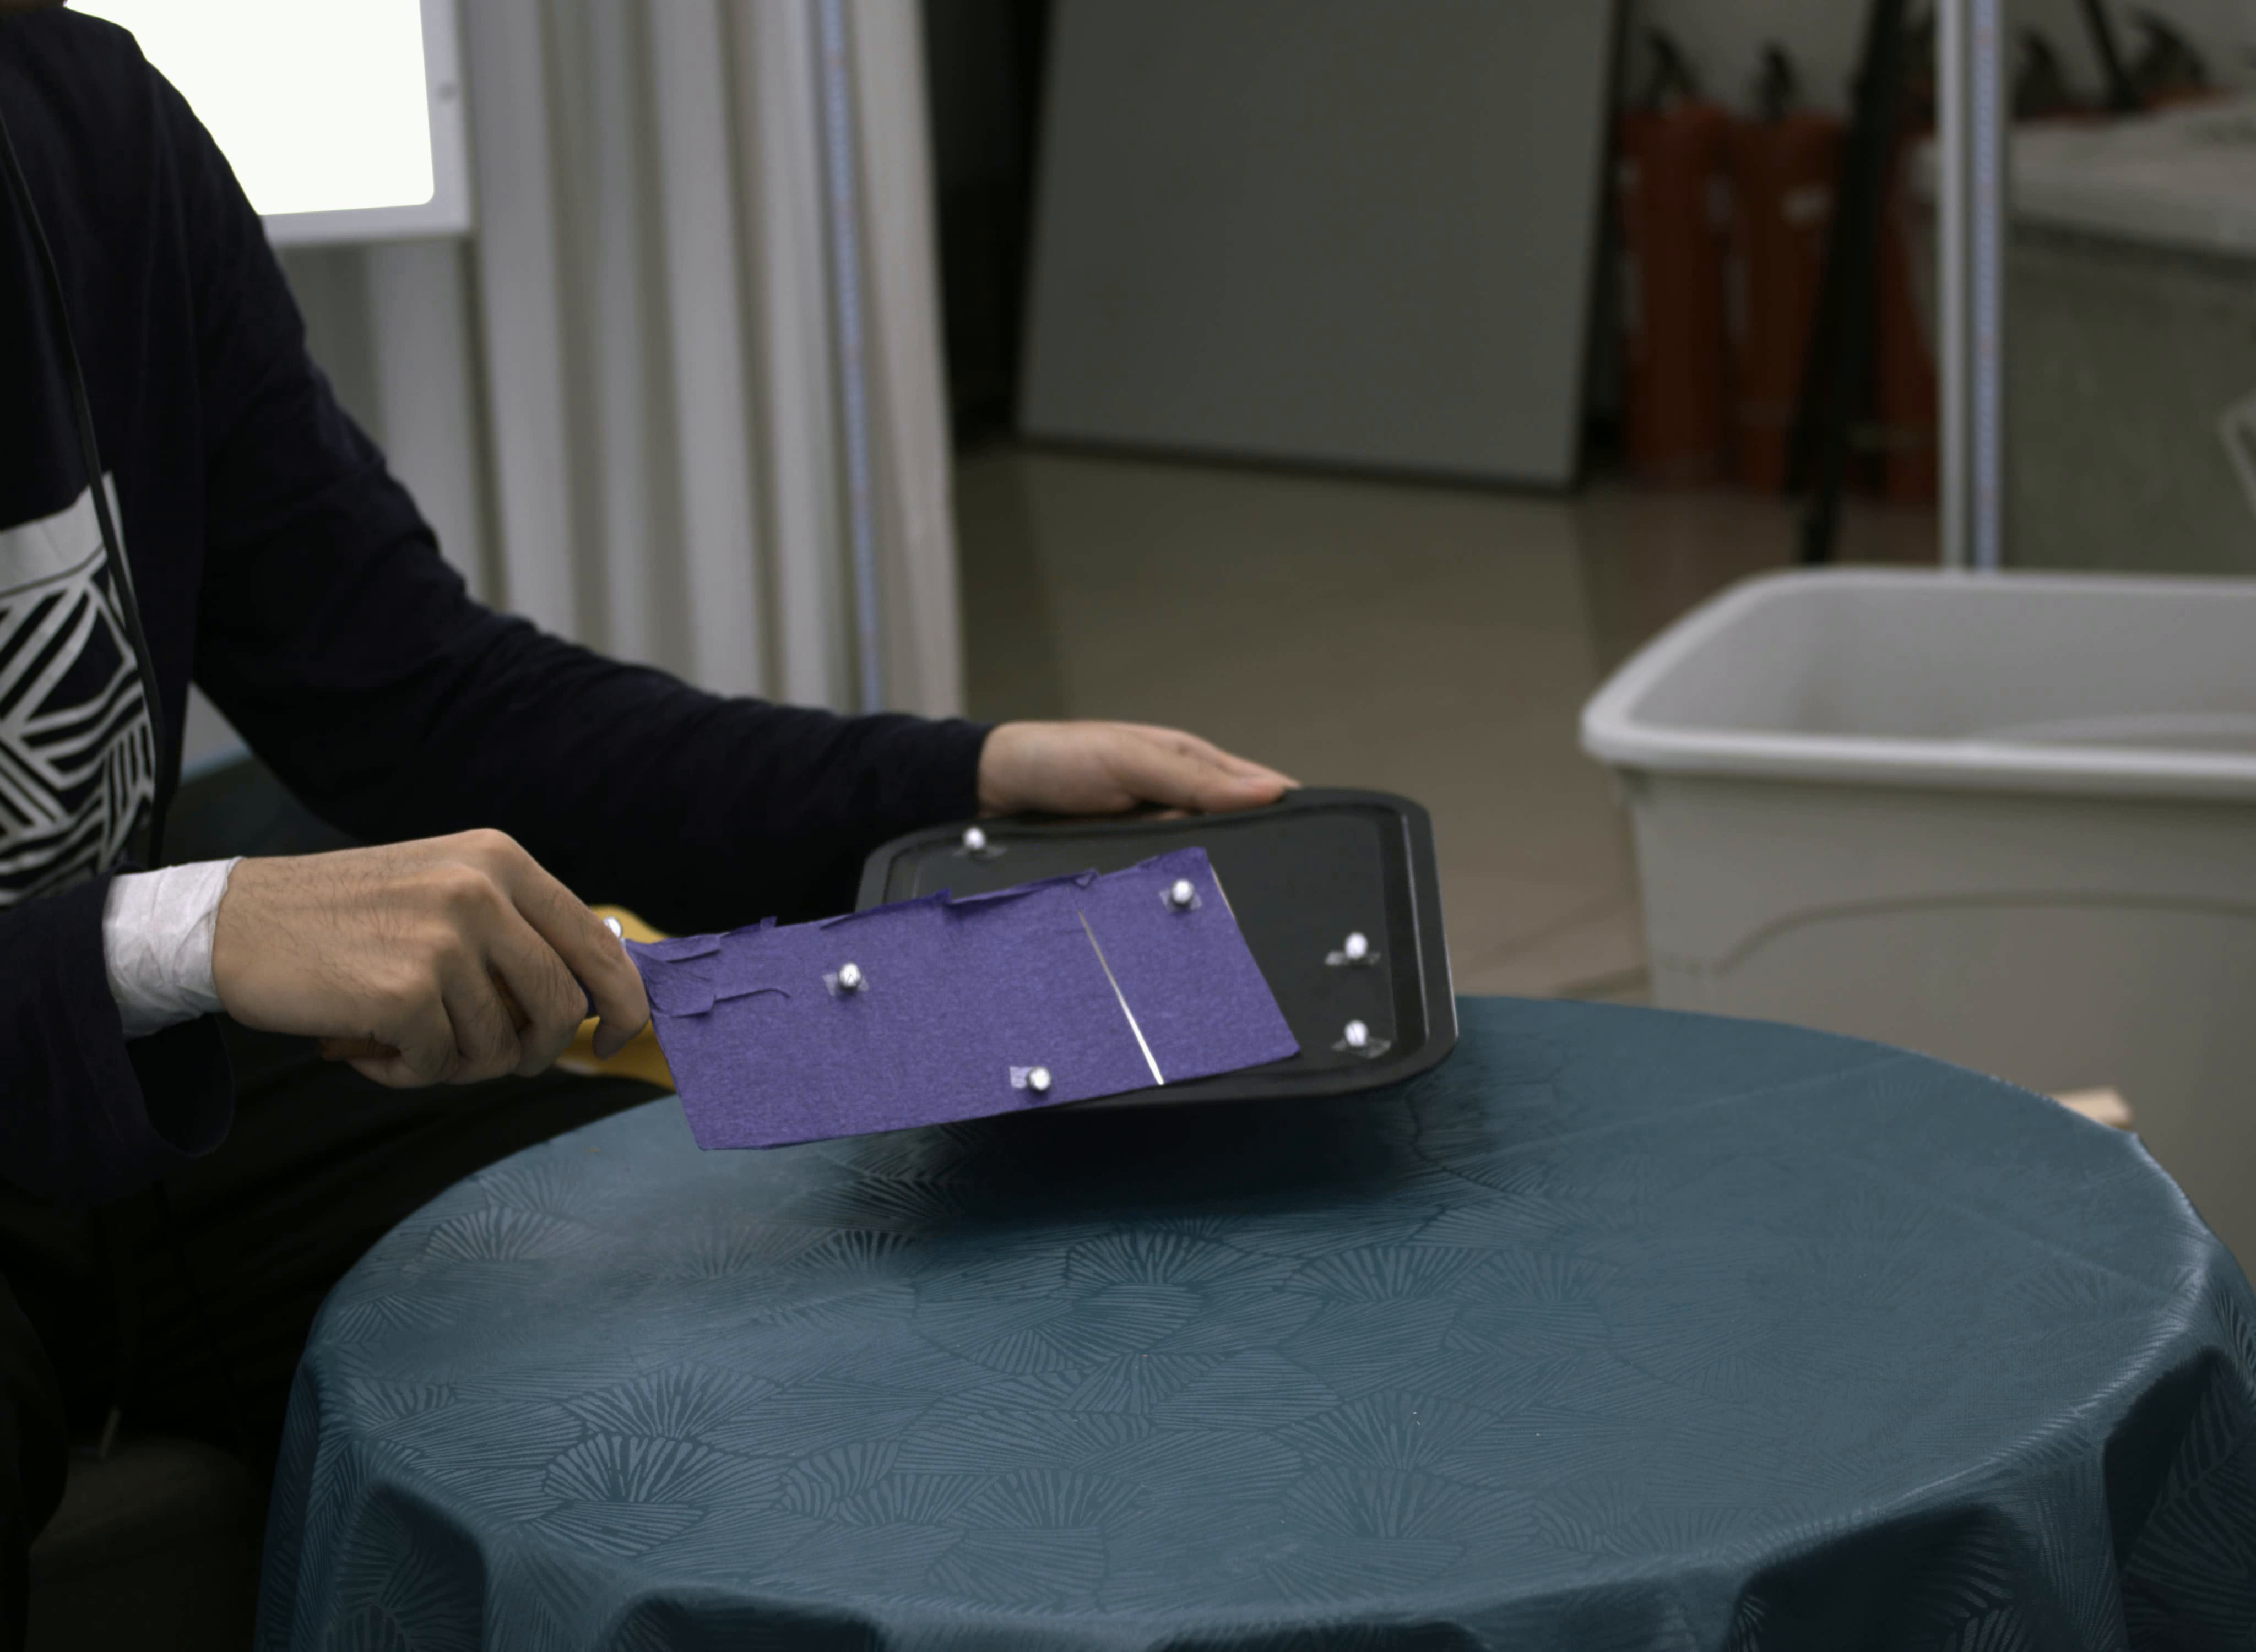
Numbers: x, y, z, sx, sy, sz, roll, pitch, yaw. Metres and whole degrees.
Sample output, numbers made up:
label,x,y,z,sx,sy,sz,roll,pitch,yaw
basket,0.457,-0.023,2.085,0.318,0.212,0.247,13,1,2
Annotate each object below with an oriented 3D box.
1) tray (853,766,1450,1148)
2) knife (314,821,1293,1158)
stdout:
label,x,y,z,sx,sy,sz,roll,pitch,yaw
tray,0.006,0.038,1.887,0.209,0.010,0.326,-9,20,5
knife,-0.099,0.061,1.738,0.309,0.032,0.105,-11,50,-17
